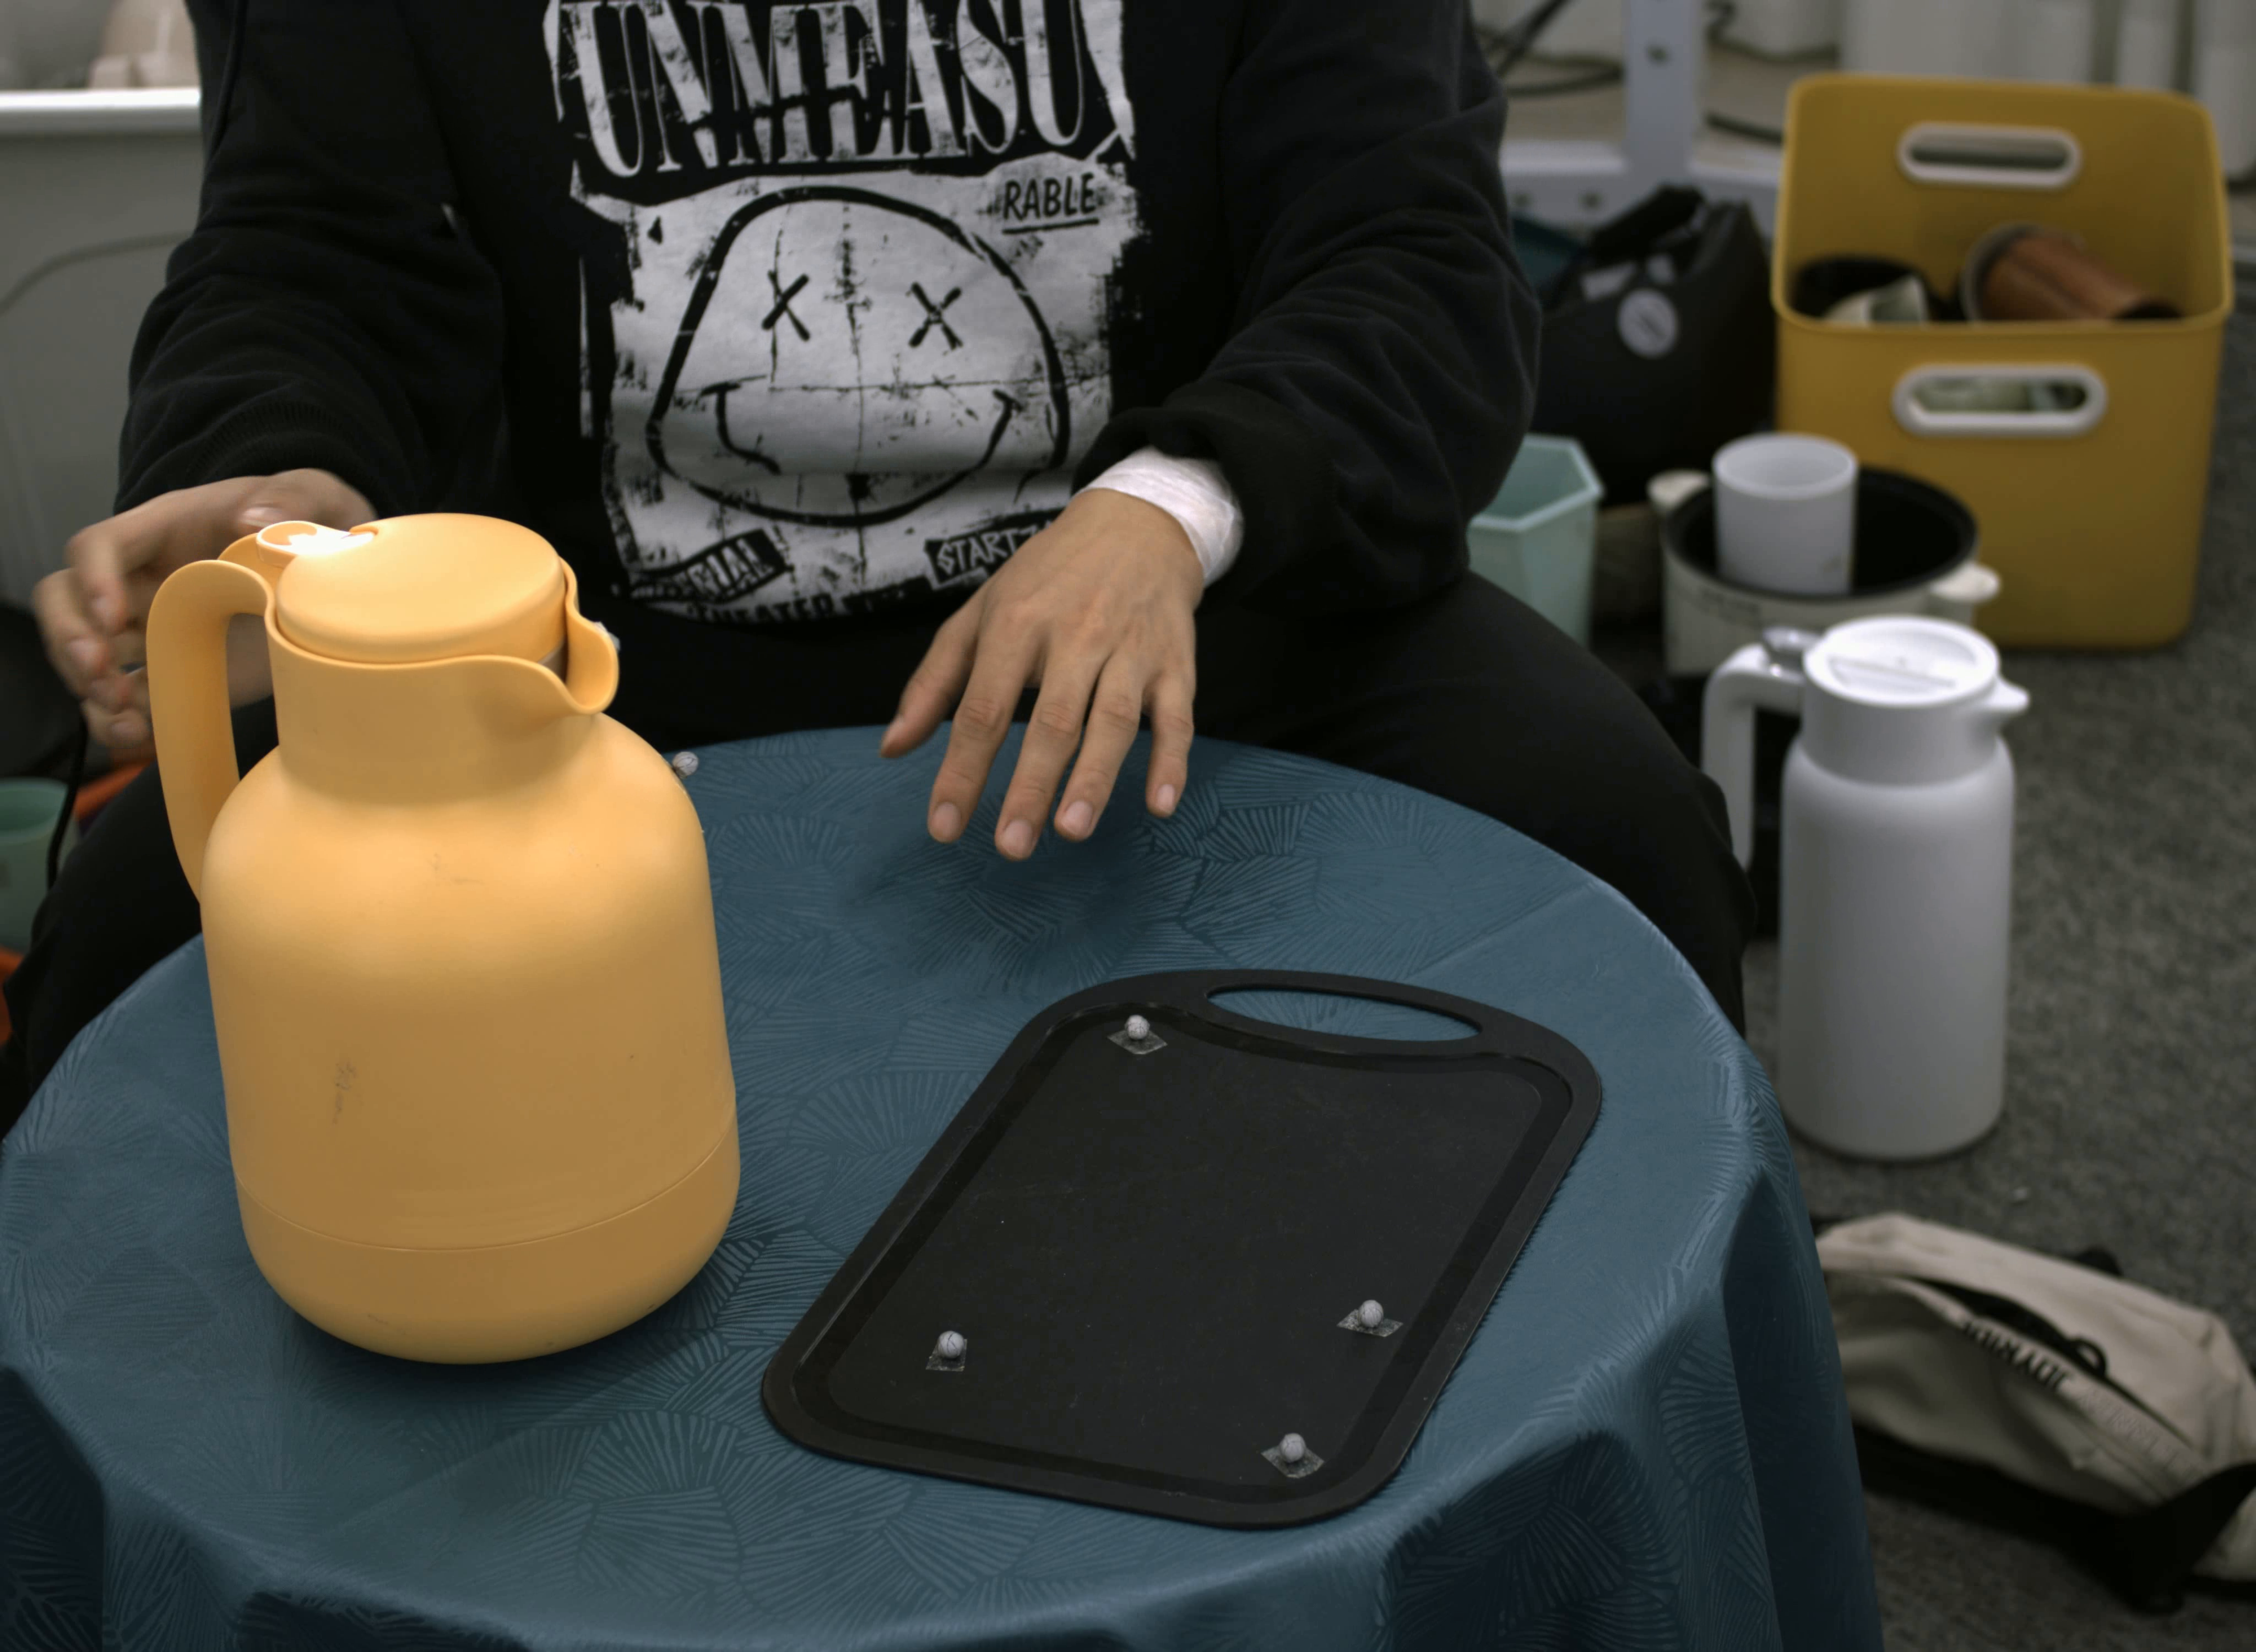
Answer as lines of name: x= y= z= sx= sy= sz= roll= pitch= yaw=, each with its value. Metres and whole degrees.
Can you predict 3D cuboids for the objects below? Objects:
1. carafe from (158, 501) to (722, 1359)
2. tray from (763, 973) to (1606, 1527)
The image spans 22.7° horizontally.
carafe: x=-0.227 y=0.022 z=1.790 sx=0.202 sy=0.258 sz=0.165 roll=21 pitch=32 yaw=36
tray: x=0.026 y=0.127 z=1.838 sx=0.209 sy=0.009 sz=0.331 roll=8 pitch=29 yaw=20
